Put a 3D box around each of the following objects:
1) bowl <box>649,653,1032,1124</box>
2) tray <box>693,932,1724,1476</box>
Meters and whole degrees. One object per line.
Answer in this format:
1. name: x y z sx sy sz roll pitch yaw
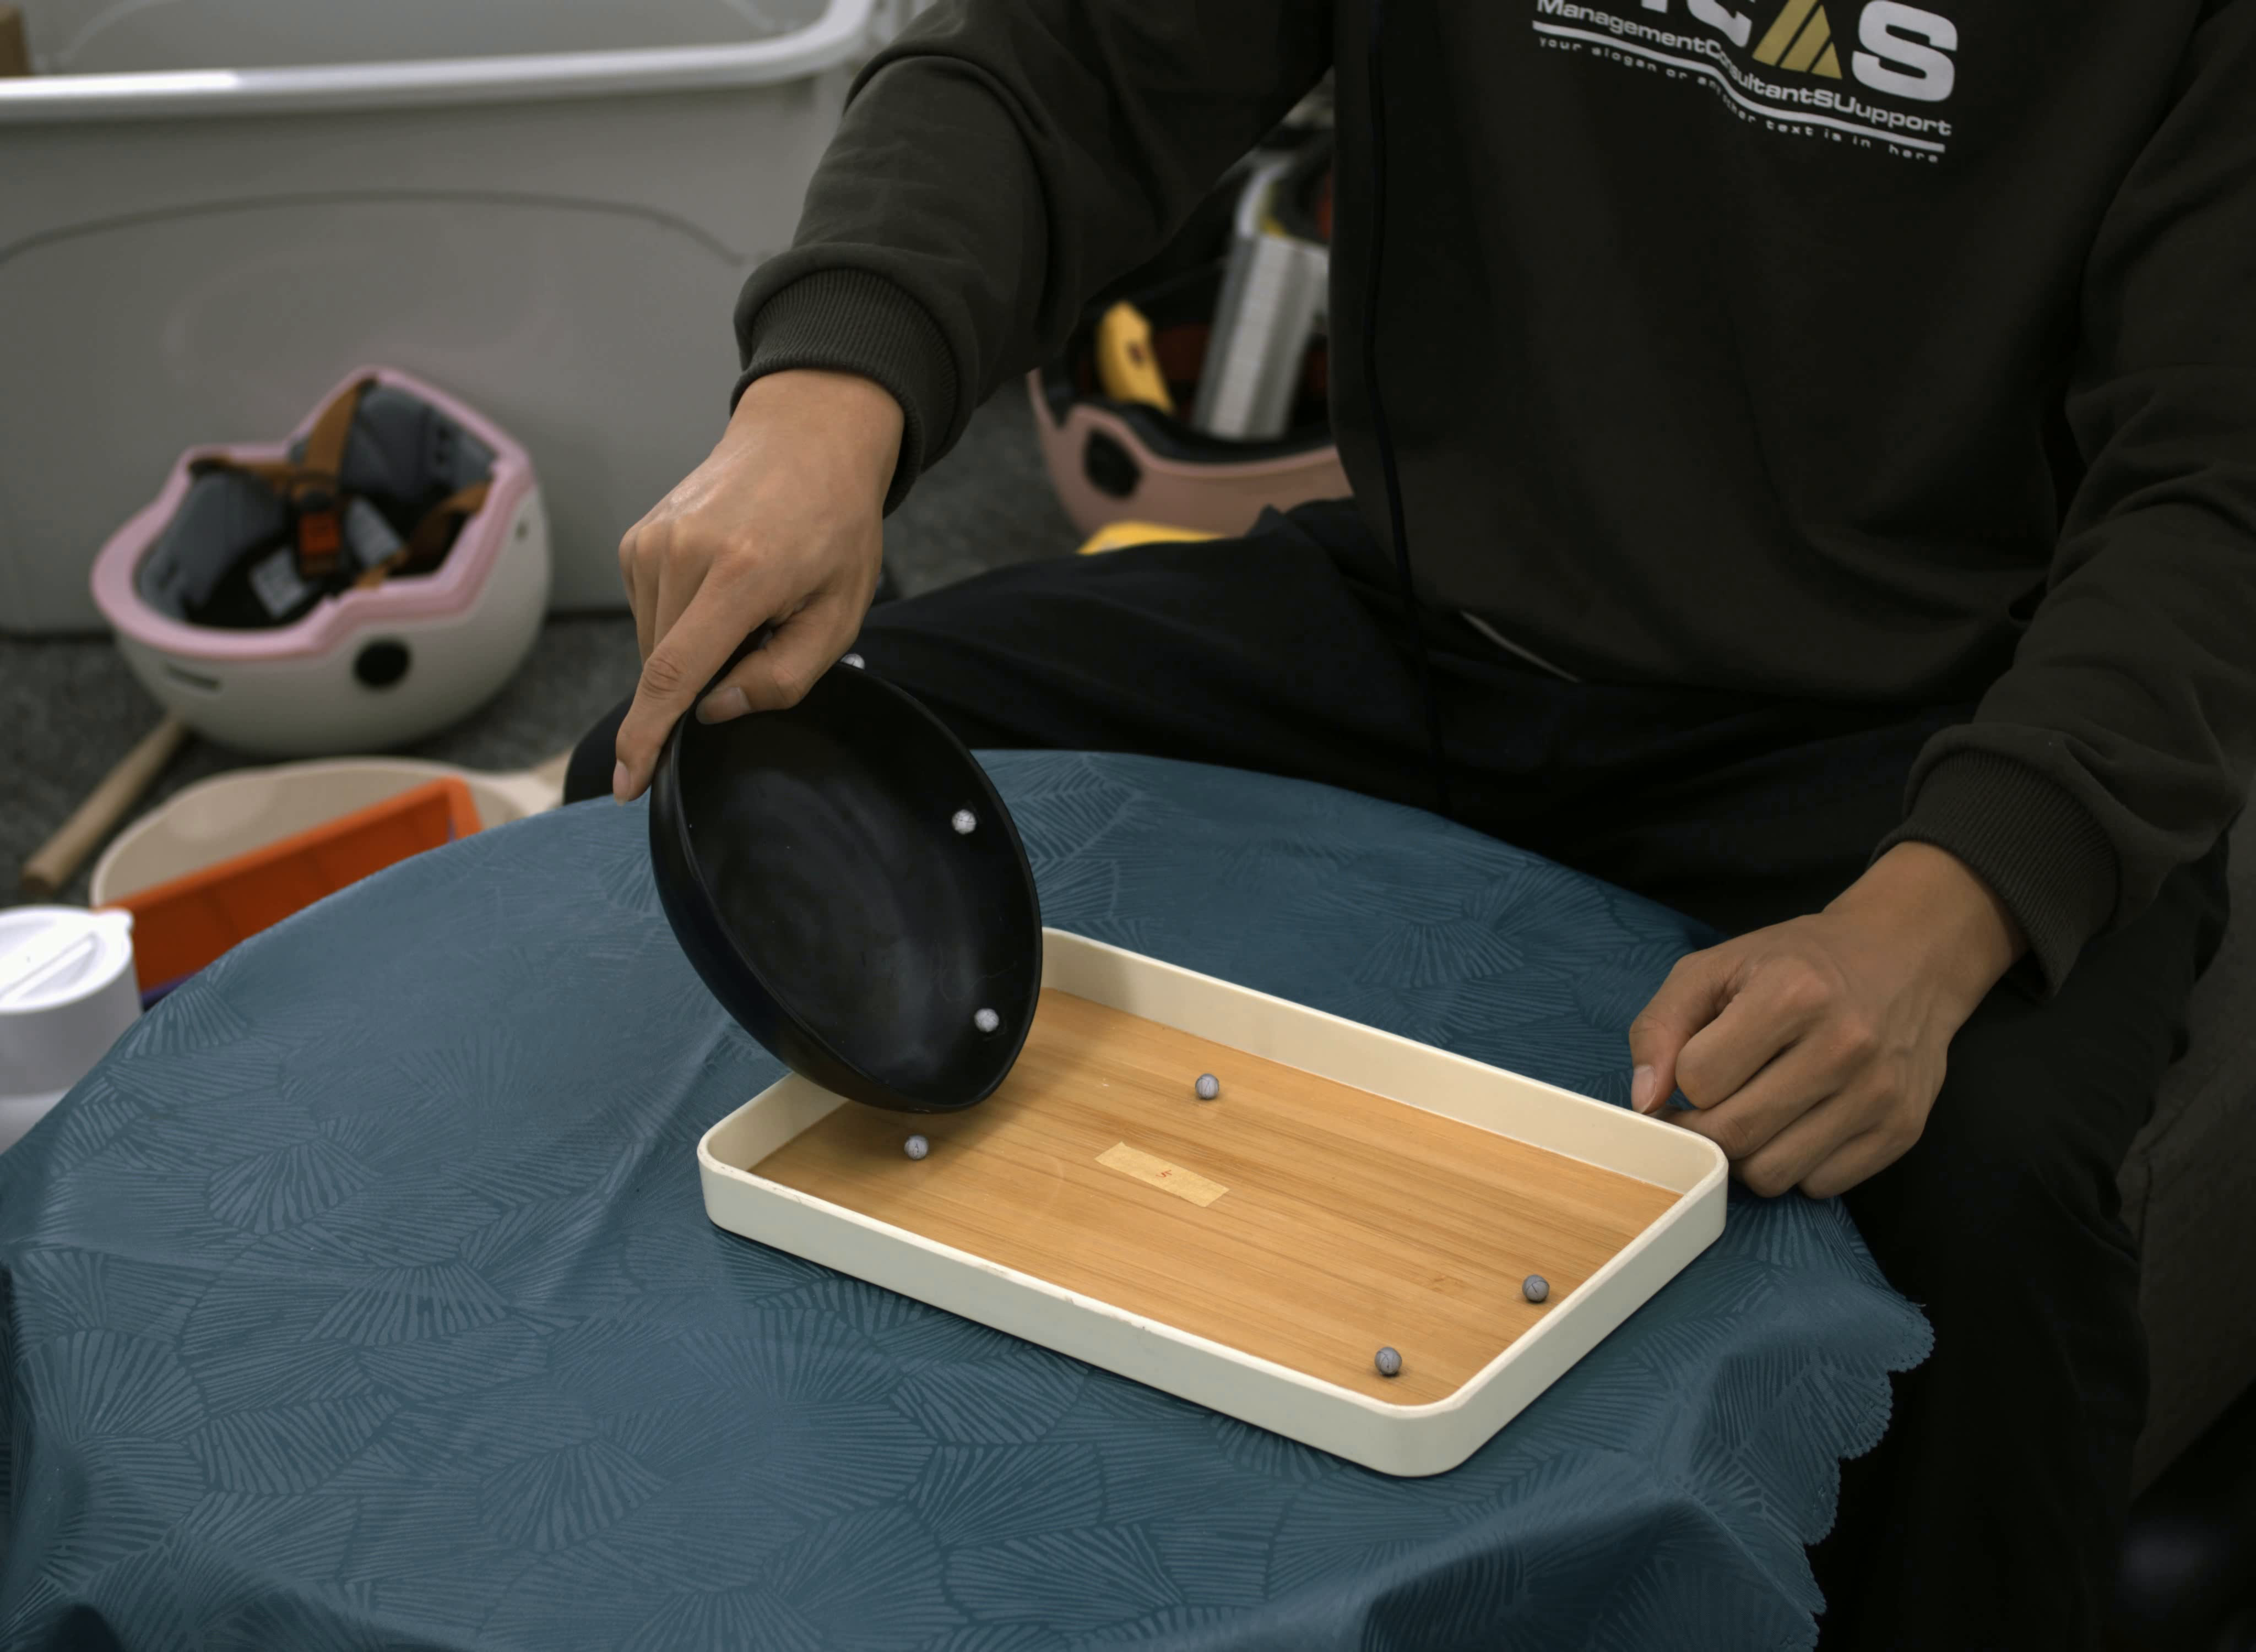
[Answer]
1. bowl: -0.105 0.027 1.898 0.065 0.170 0.139 -29 9 46
2. tray: 0.025 0.118 1.841 0.299 0.027 0.194 16 32 33
